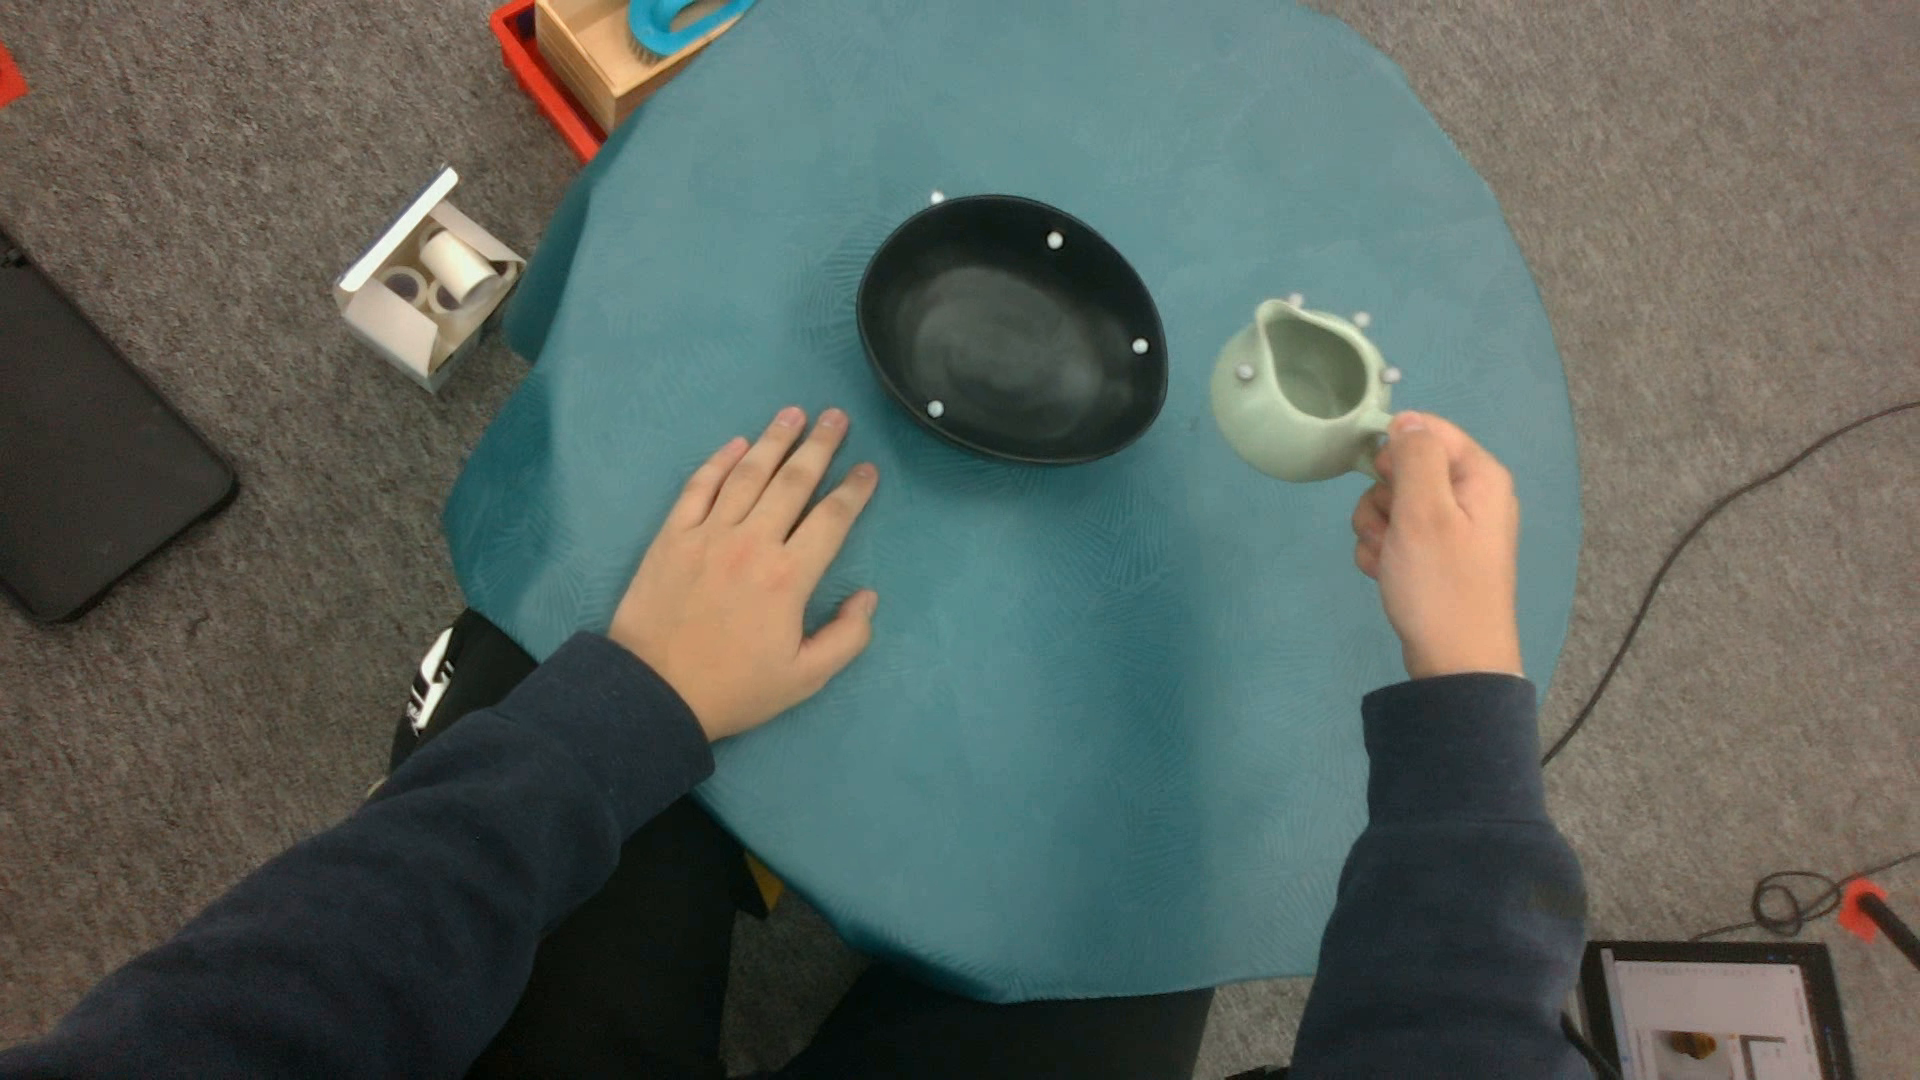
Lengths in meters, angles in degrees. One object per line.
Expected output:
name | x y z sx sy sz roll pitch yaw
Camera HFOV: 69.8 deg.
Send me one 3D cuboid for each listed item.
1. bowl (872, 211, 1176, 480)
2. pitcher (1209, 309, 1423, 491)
bowl | 0.032 -0.096 0.729 0.170 0.066 0.137 16 76 -12
pitcher | 0.172 -0.062 0.655 0.108 0.060 0.086 42 76 7
